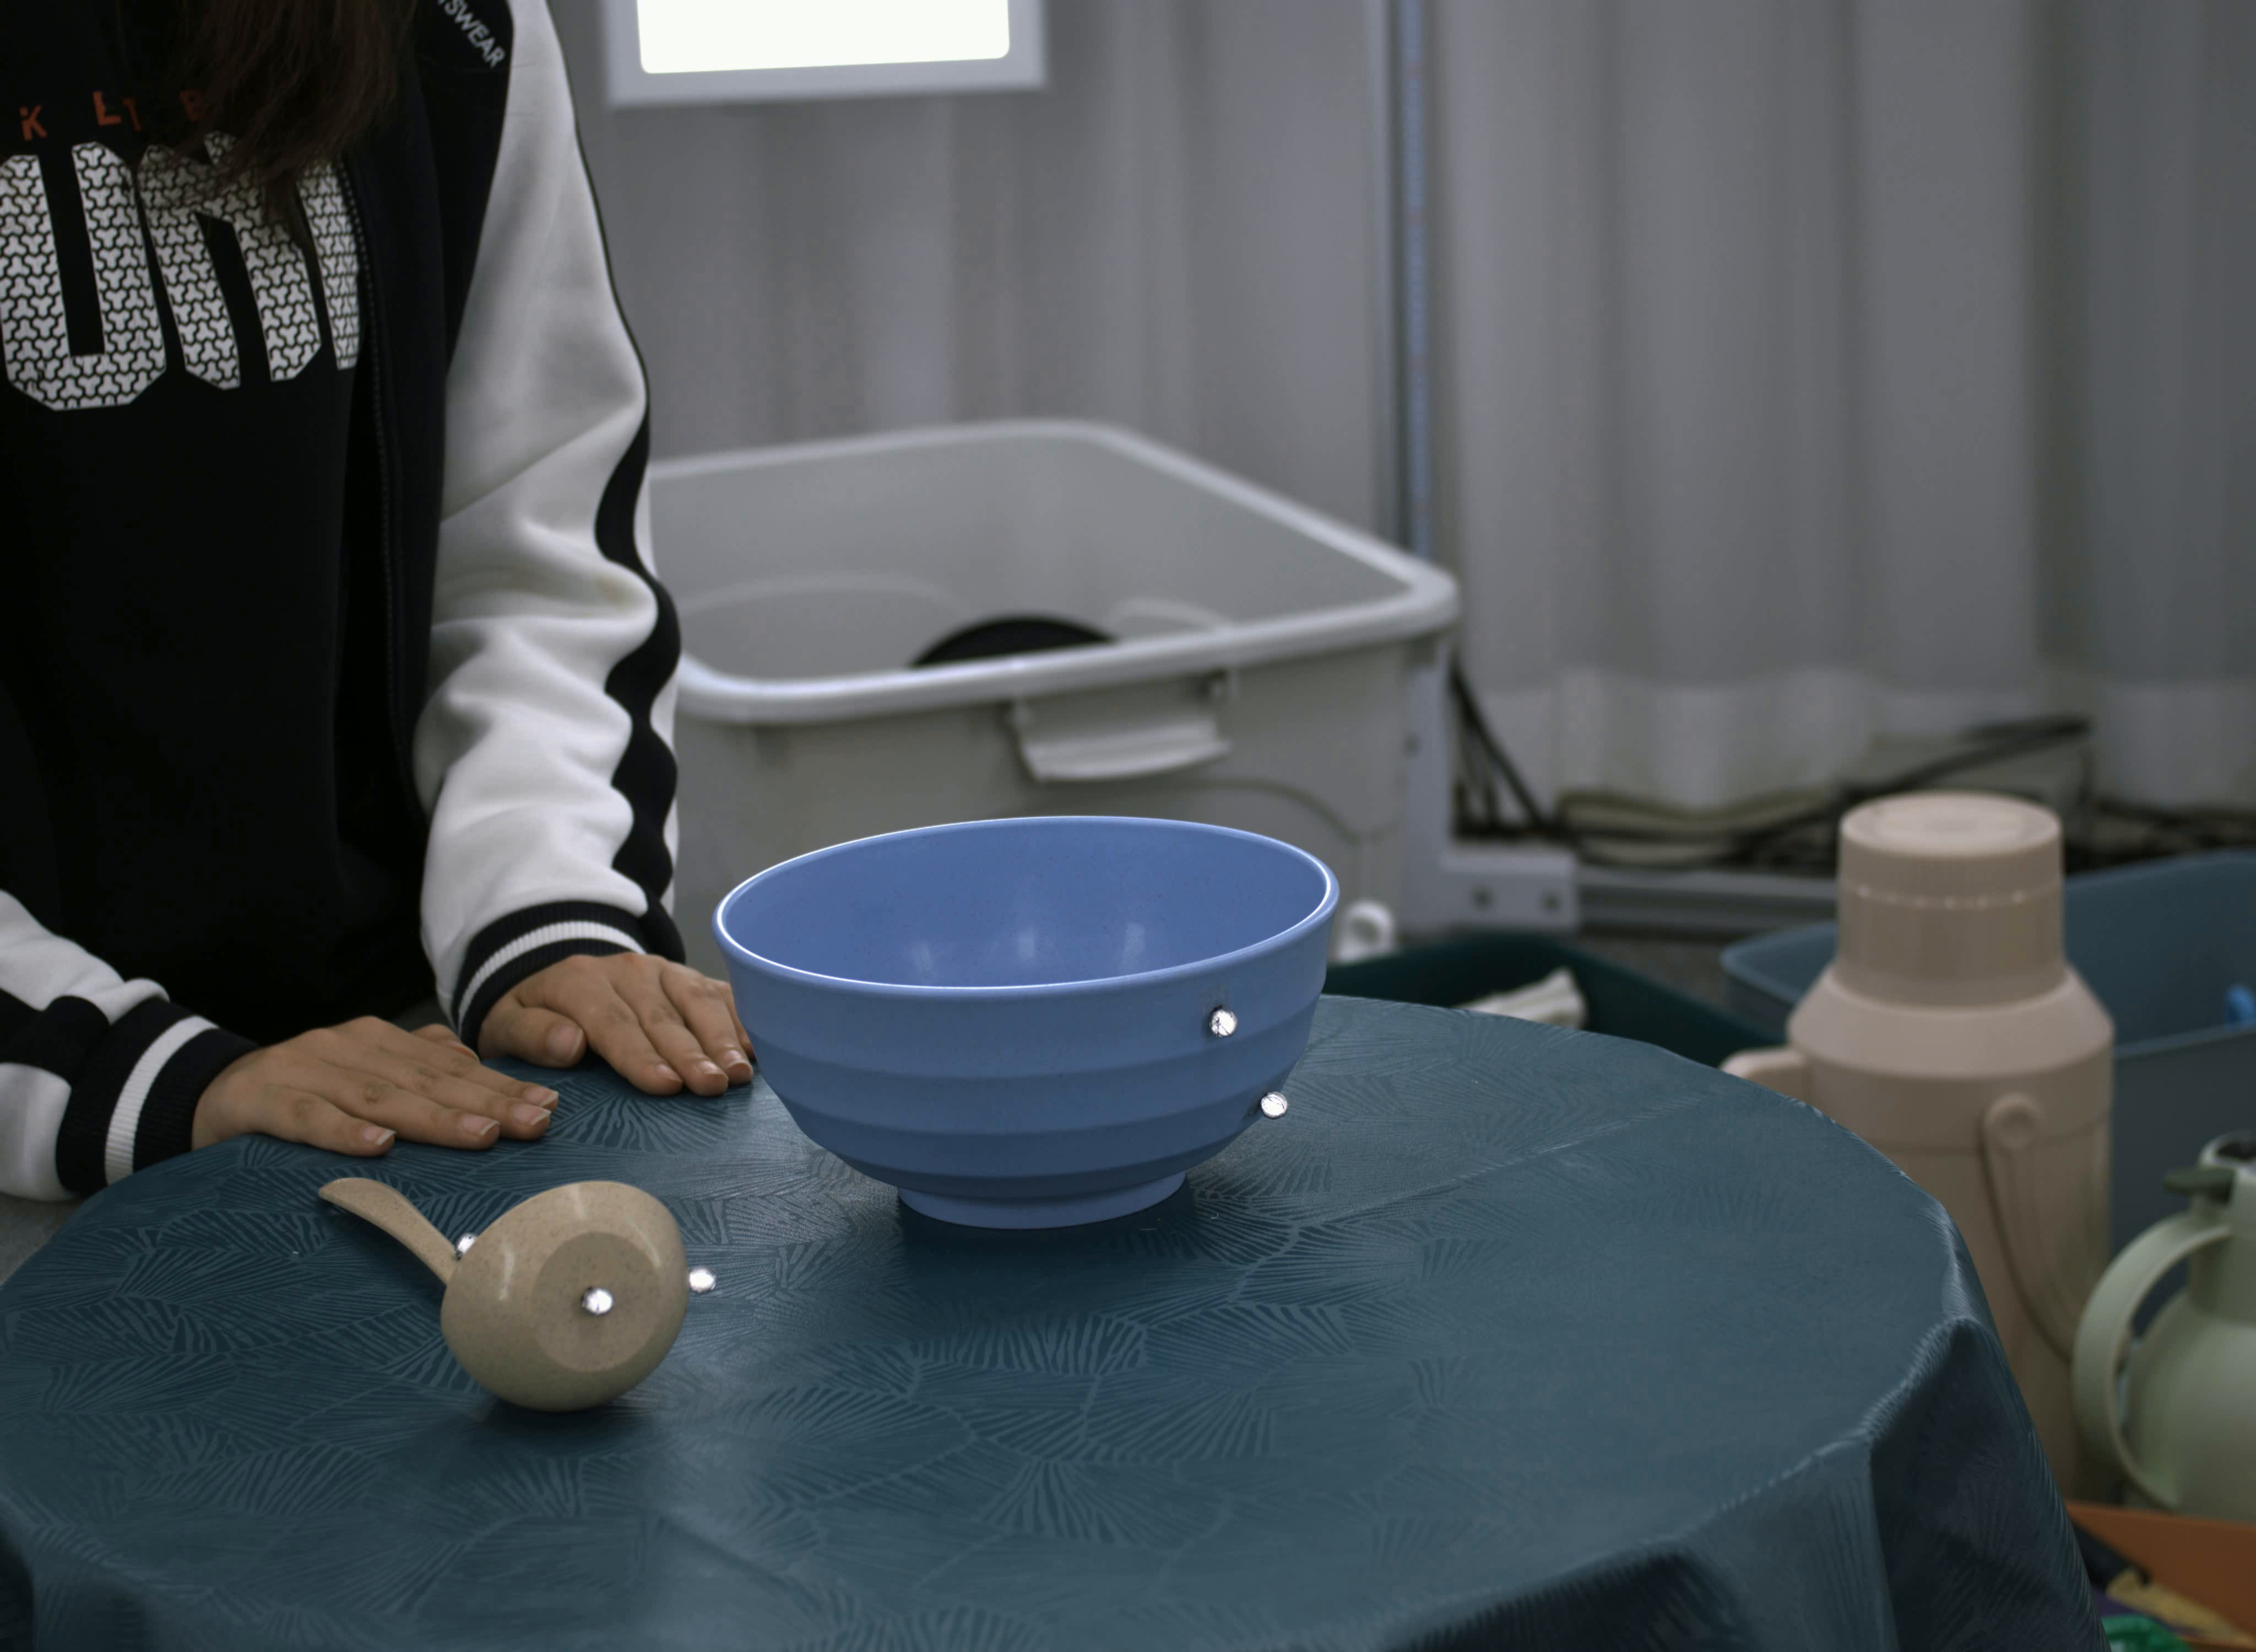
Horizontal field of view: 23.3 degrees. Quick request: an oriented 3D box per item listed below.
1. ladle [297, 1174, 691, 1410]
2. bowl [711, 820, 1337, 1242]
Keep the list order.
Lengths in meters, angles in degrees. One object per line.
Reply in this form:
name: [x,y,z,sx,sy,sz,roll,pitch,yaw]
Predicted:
ladle: [-0.203,0.110,1.631,0.072,0.072,0.256,-9,16,-26]
bowl: [-0.029,0.071,1.716,0.196,0.095,0.198,-4,15,1]
